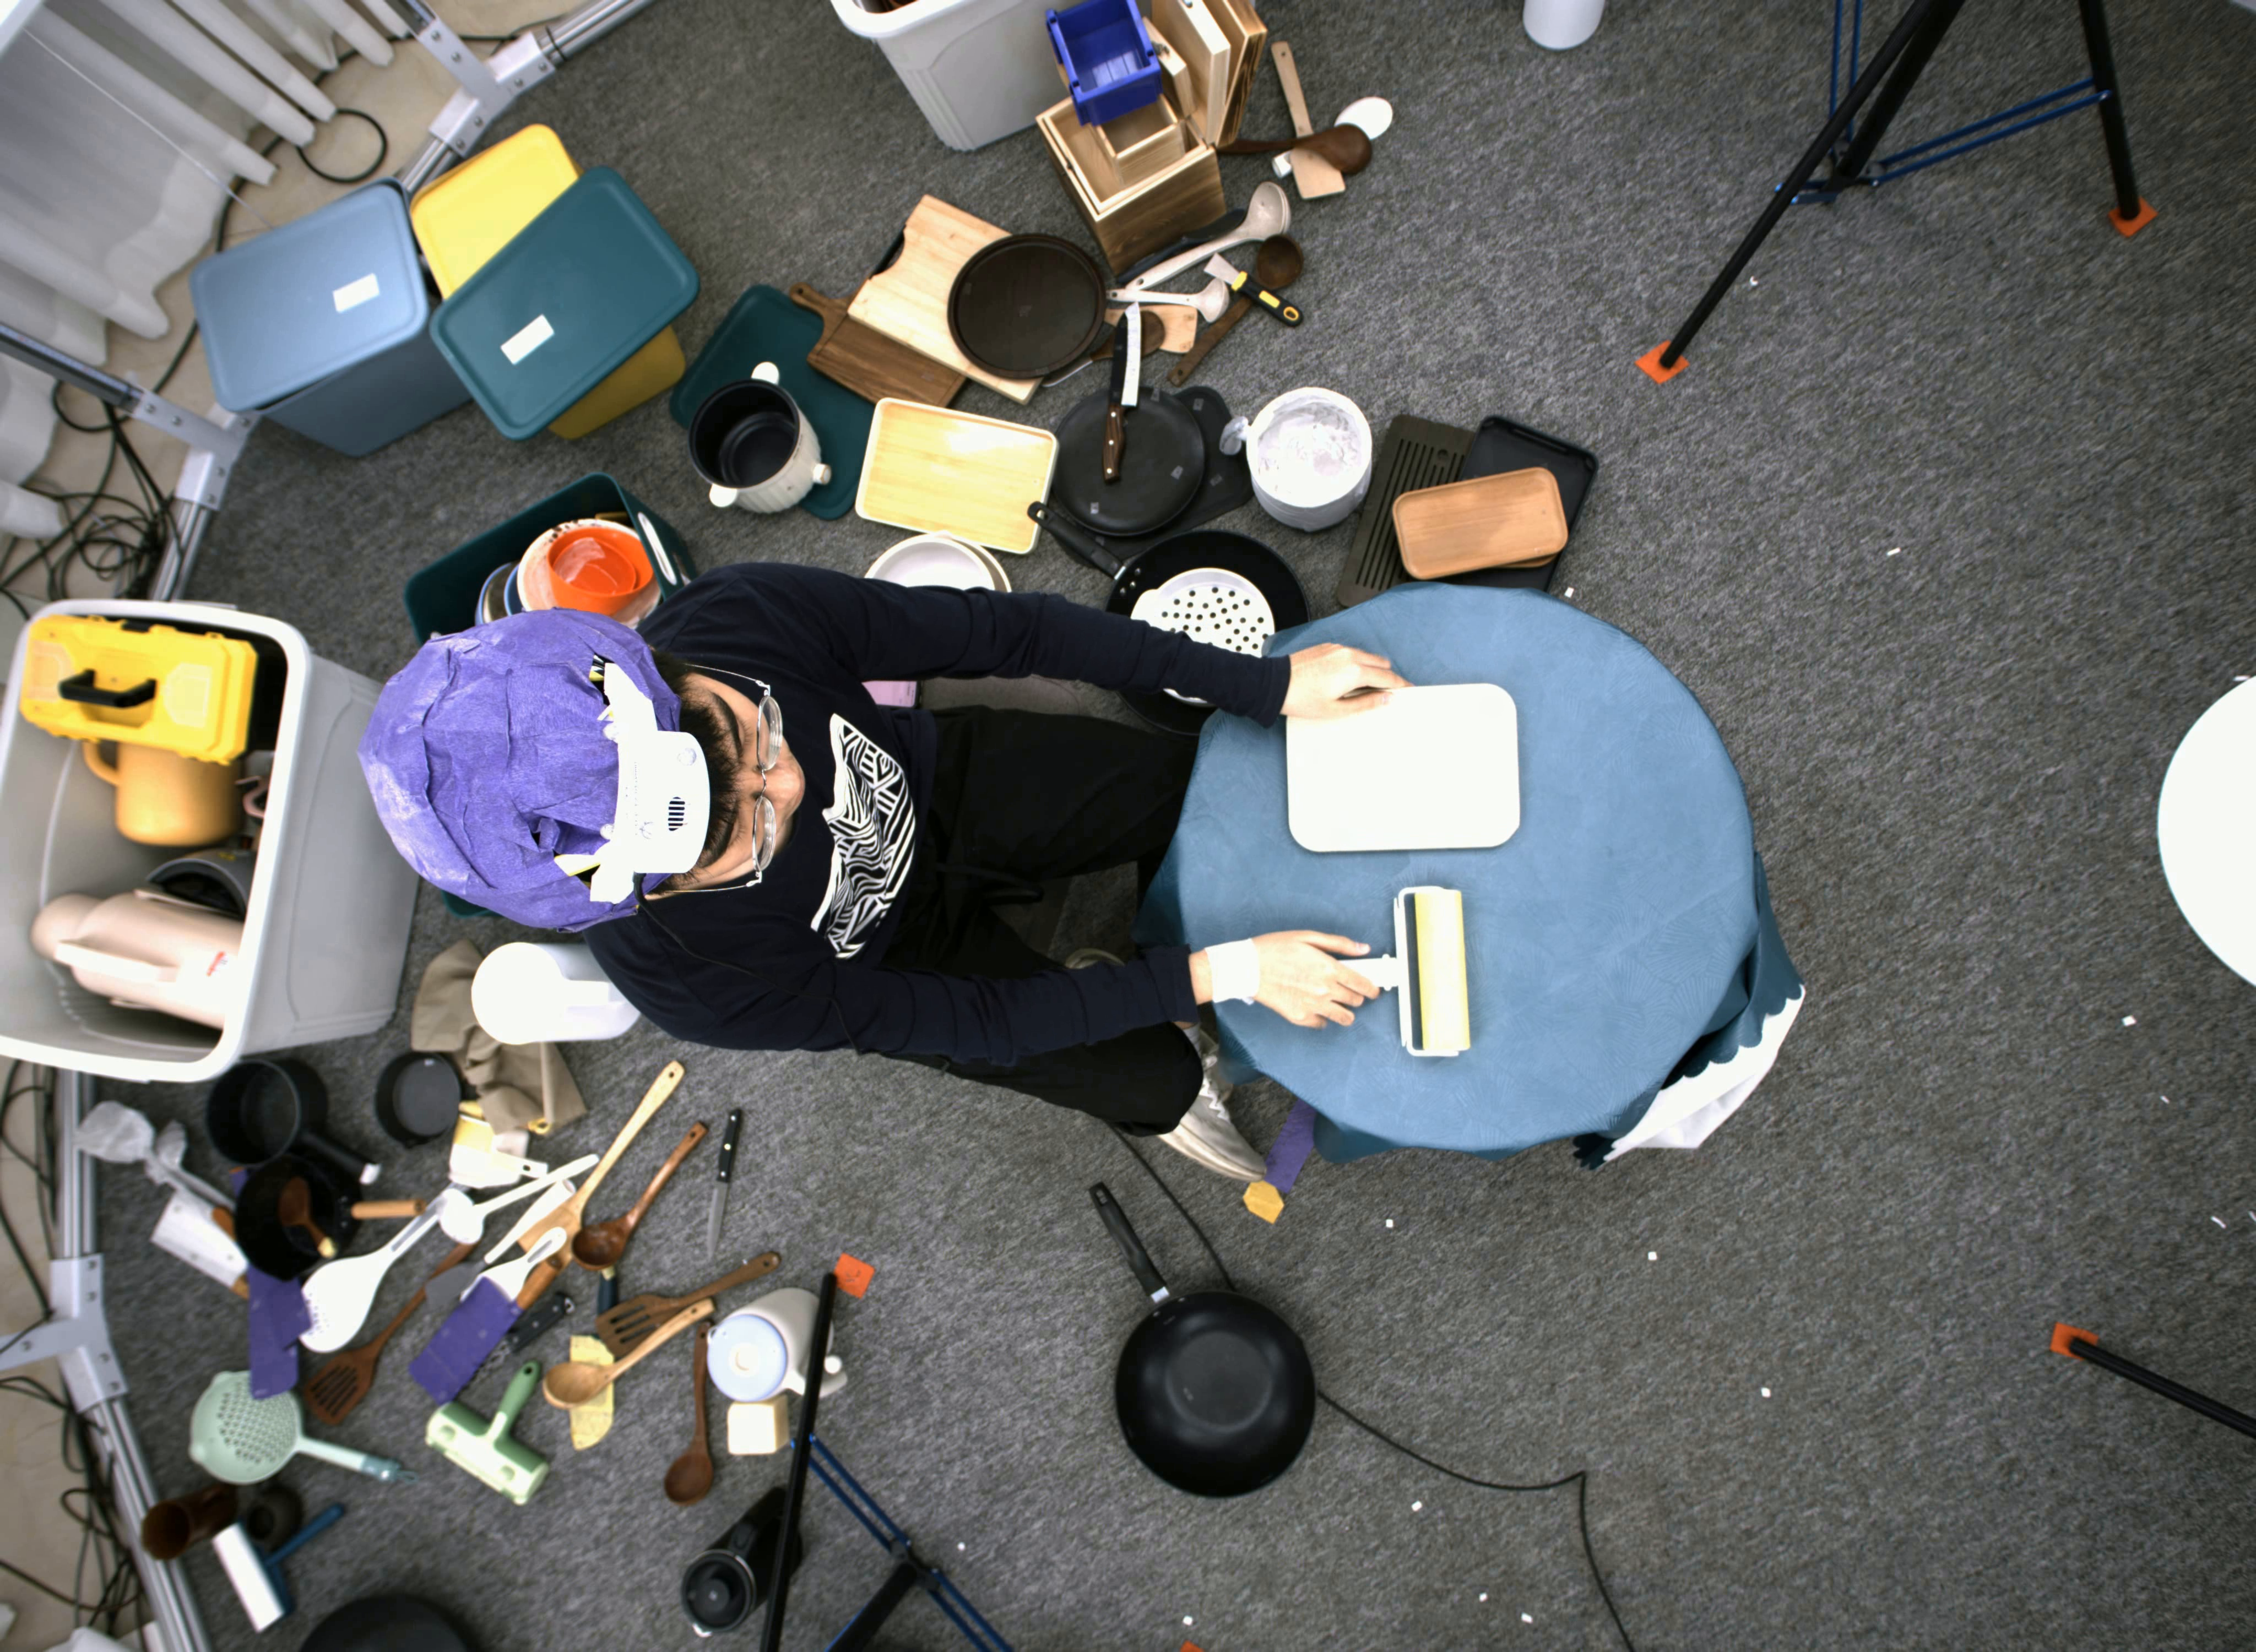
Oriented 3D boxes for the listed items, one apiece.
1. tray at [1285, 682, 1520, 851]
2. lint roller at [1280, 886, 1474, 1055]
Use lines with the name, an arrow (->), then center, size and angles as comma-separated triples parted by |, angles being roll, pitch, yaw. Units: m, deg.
tray -> 0.288, -0.063, 1.447 | 0.240, 0.017, 0.171 | -2, 92, 10
lint roller -> 0.254, 0.153, 1.431 | 0.192, 0.051, 0.173 | -4, 85, 6
